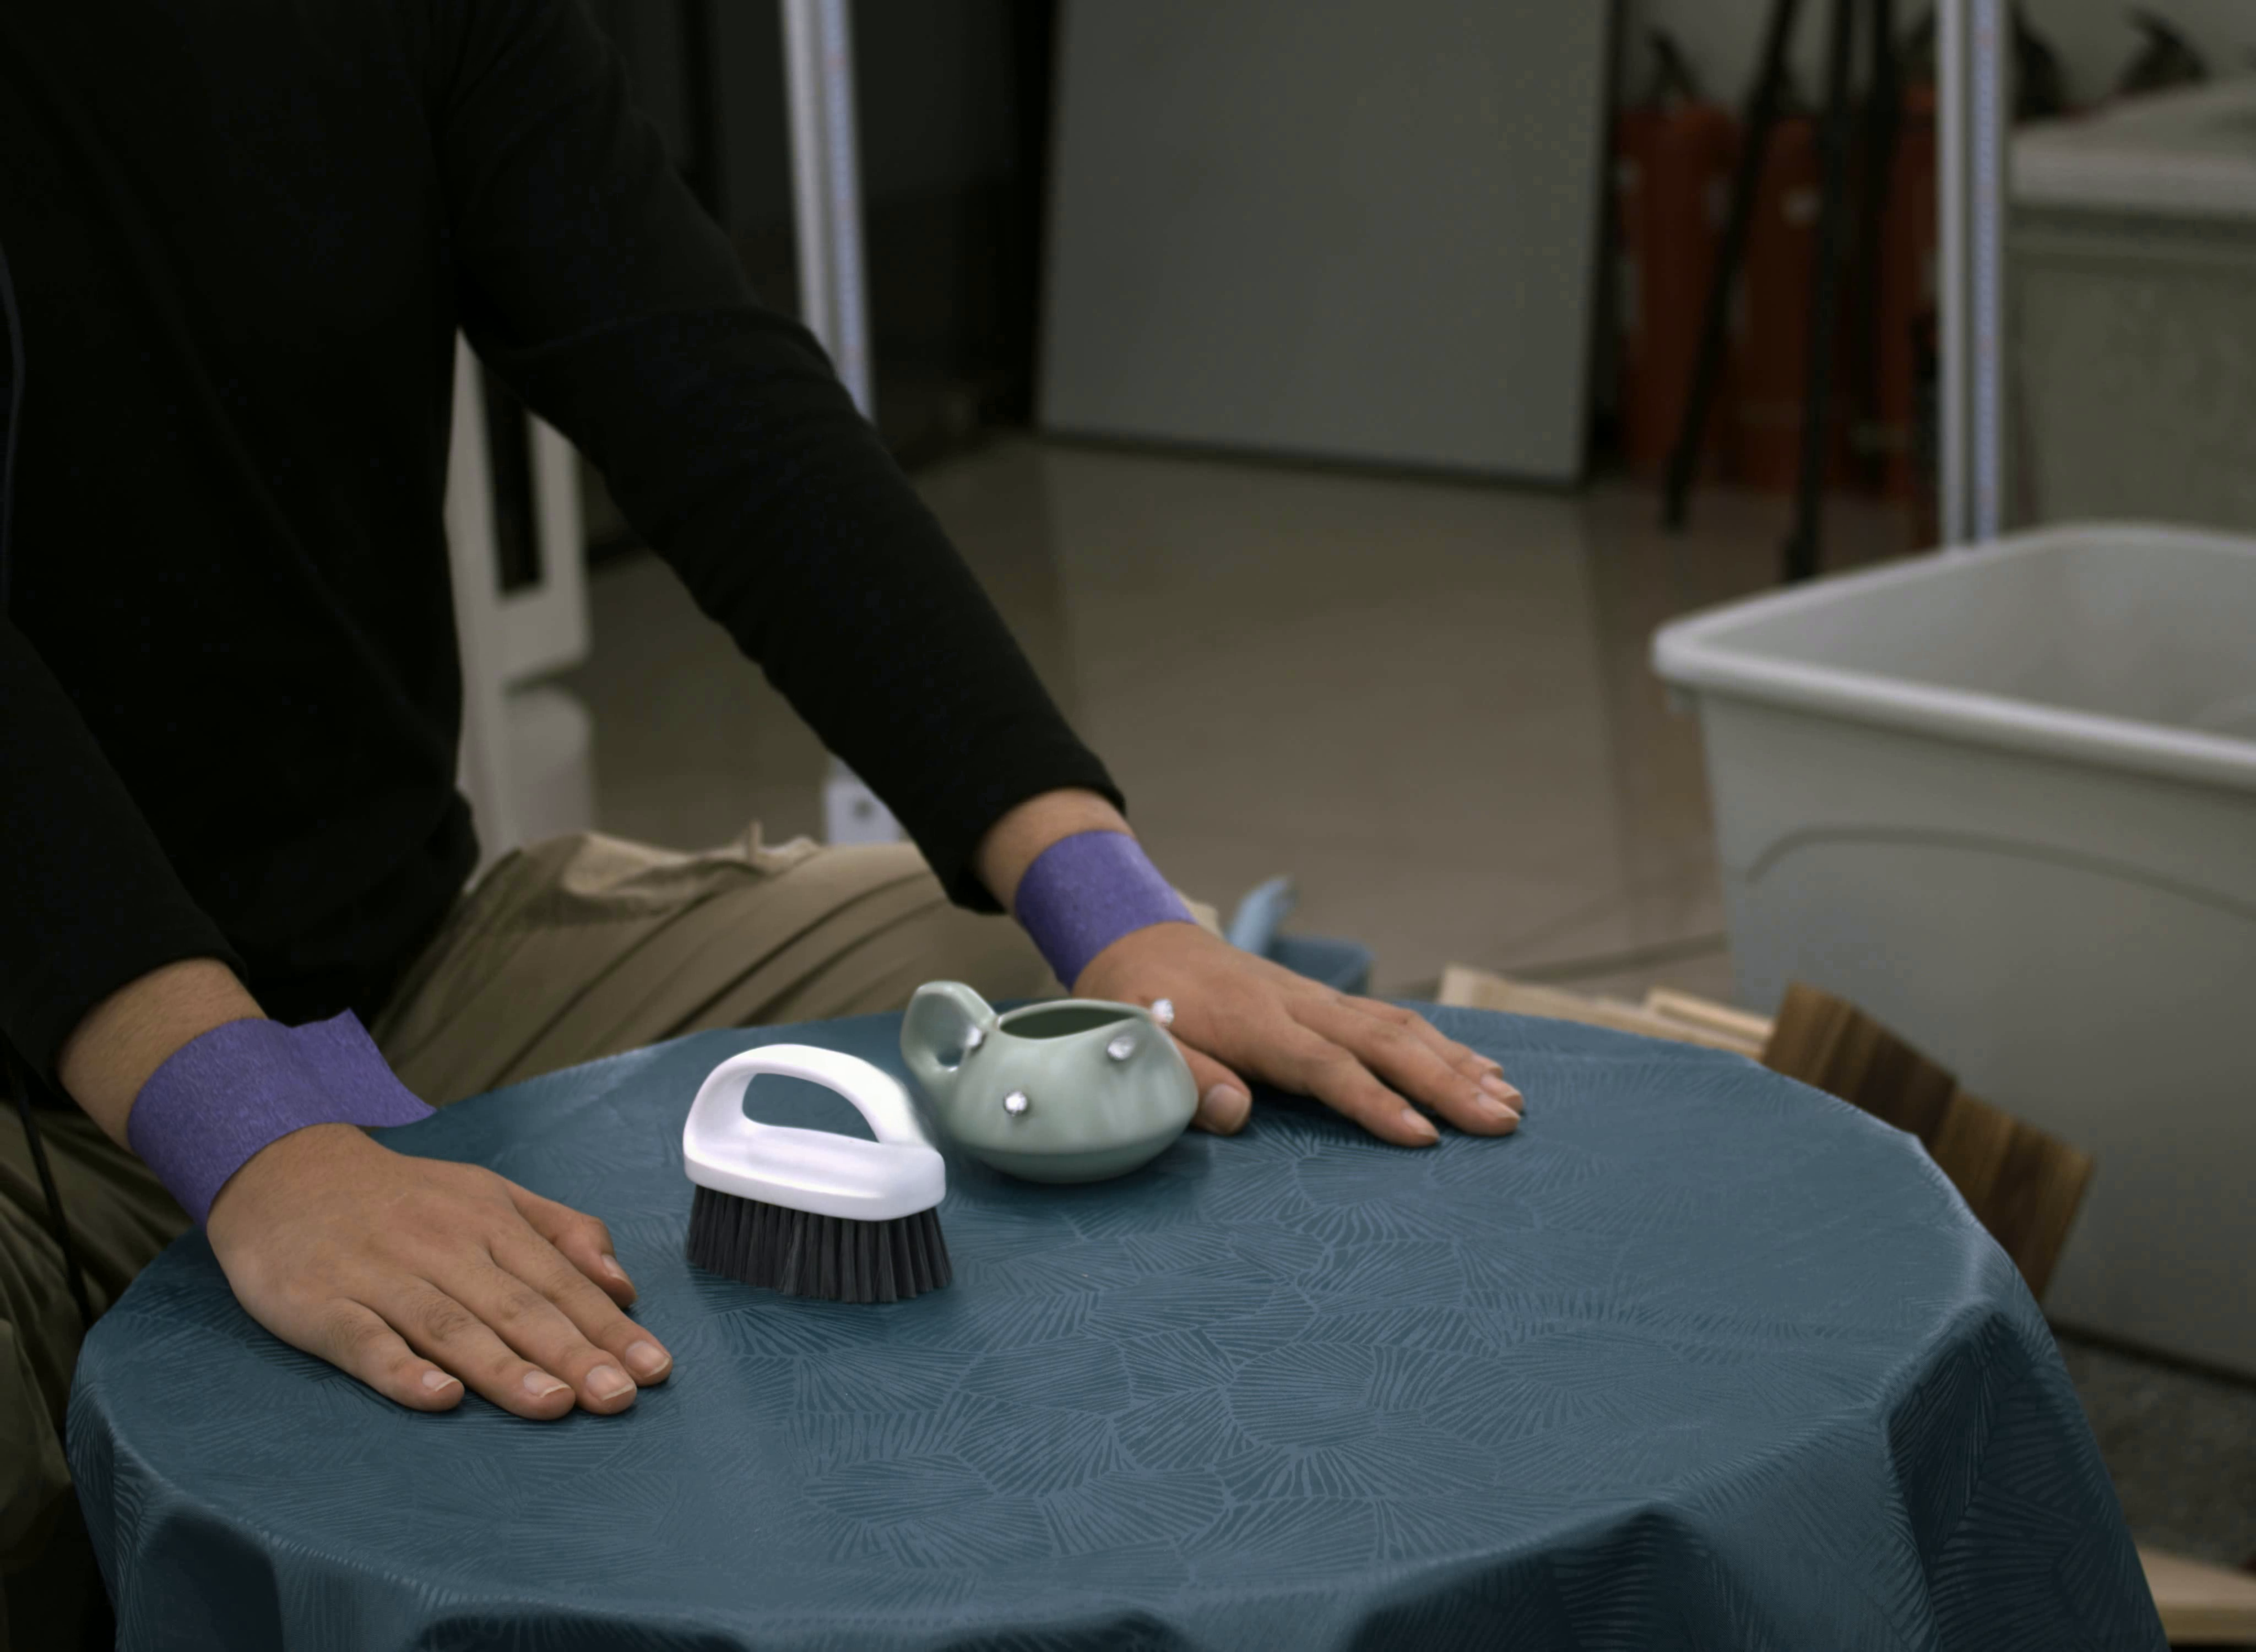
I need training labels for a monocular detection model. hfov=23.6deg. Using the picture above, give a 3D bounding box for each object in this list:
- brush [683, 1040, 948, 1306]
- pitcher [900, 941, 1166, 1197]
[{"bbox_3d":[-0.100,0.105,1.705,0.100,0.073,0.049,10,18,43],"label":"brush"},{"bbox_3d":[-0.038,0.081,1.807,0.109,0.061,0.084,28,42,36],"label":"pitcher"}]
